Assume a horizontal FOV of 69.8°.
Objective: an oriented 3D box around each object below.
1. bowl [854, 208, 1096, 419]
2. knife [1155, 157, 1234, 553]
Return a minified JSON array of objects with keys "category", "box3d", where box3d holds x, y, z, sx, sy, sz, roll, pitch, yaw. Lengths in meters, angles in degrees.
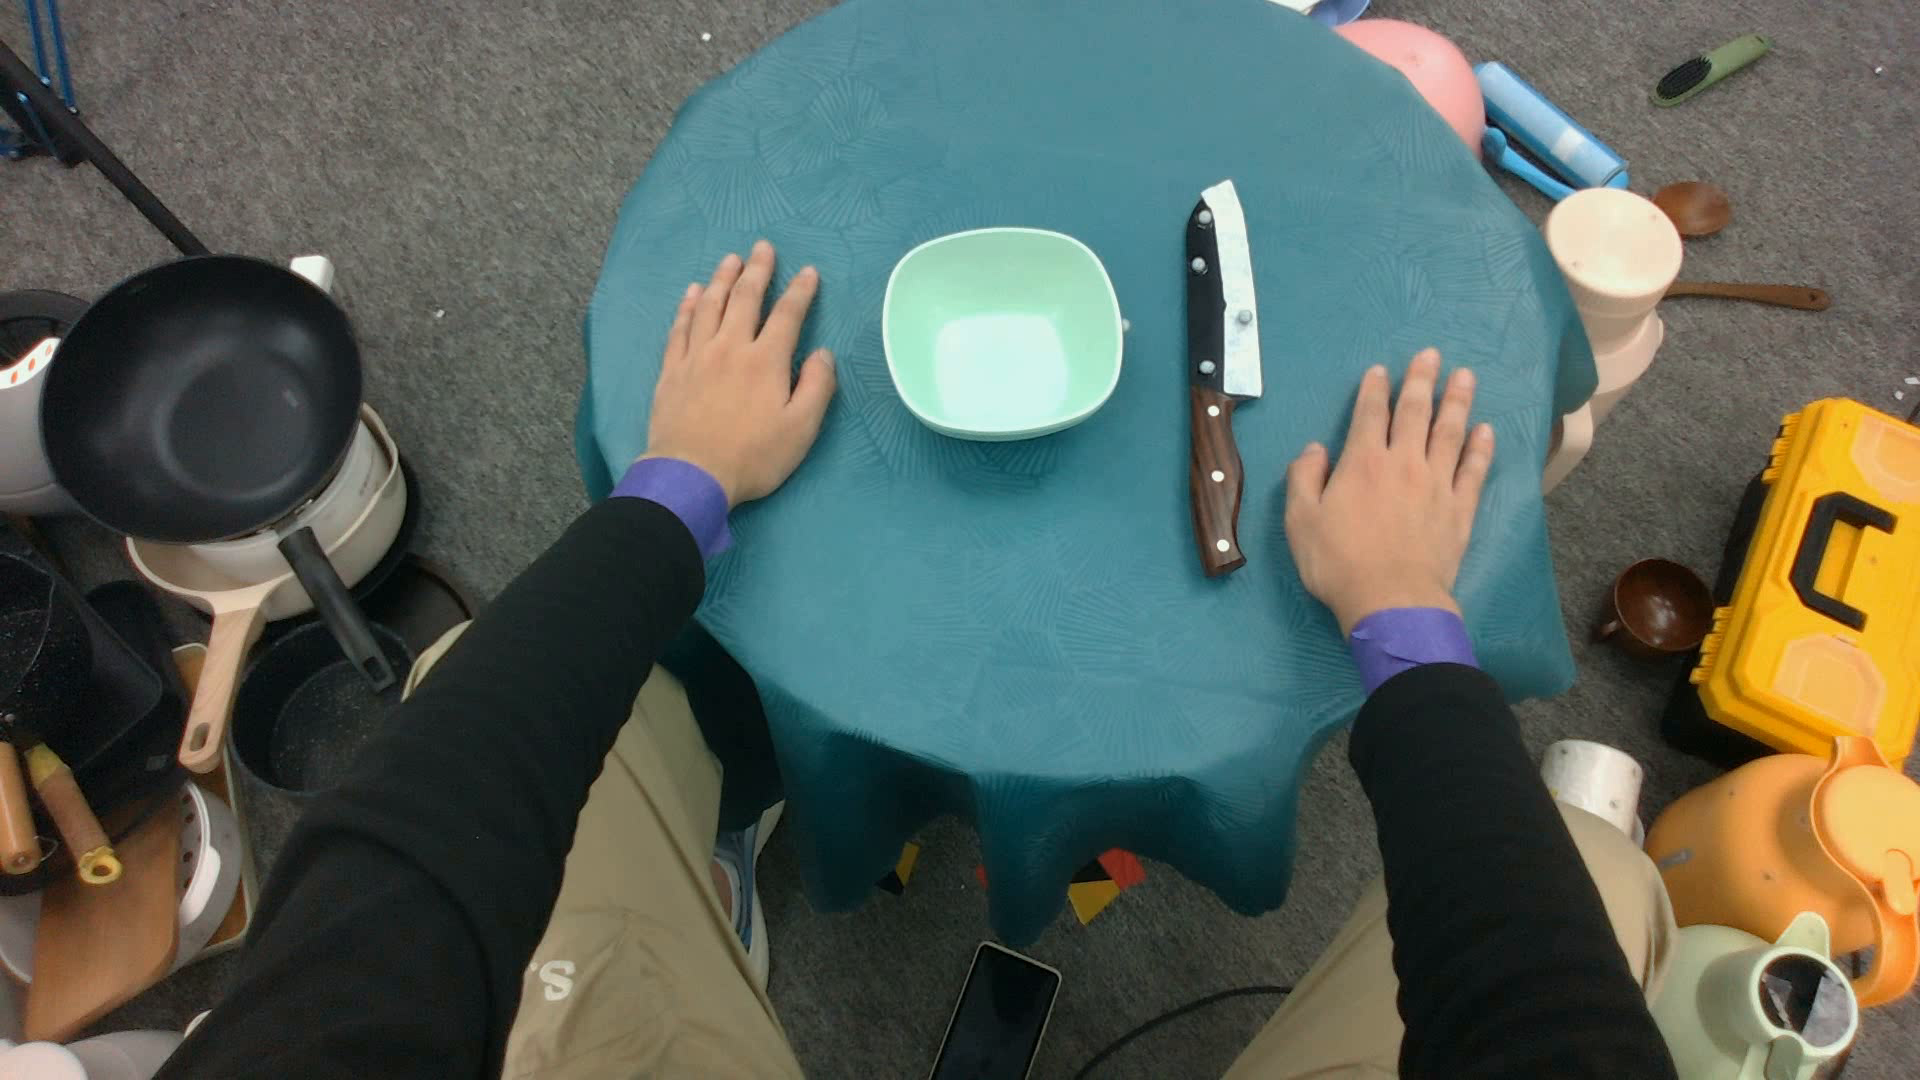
[{"category":"bowl","box3d":[0.008,-0.125,0.818,0.151,0.058,0.152,0,65,-1]},{"category":"knife","box3d":[0.143,-0.123,0.842,0.050,0.020,0.290,6,64,-4]}]
